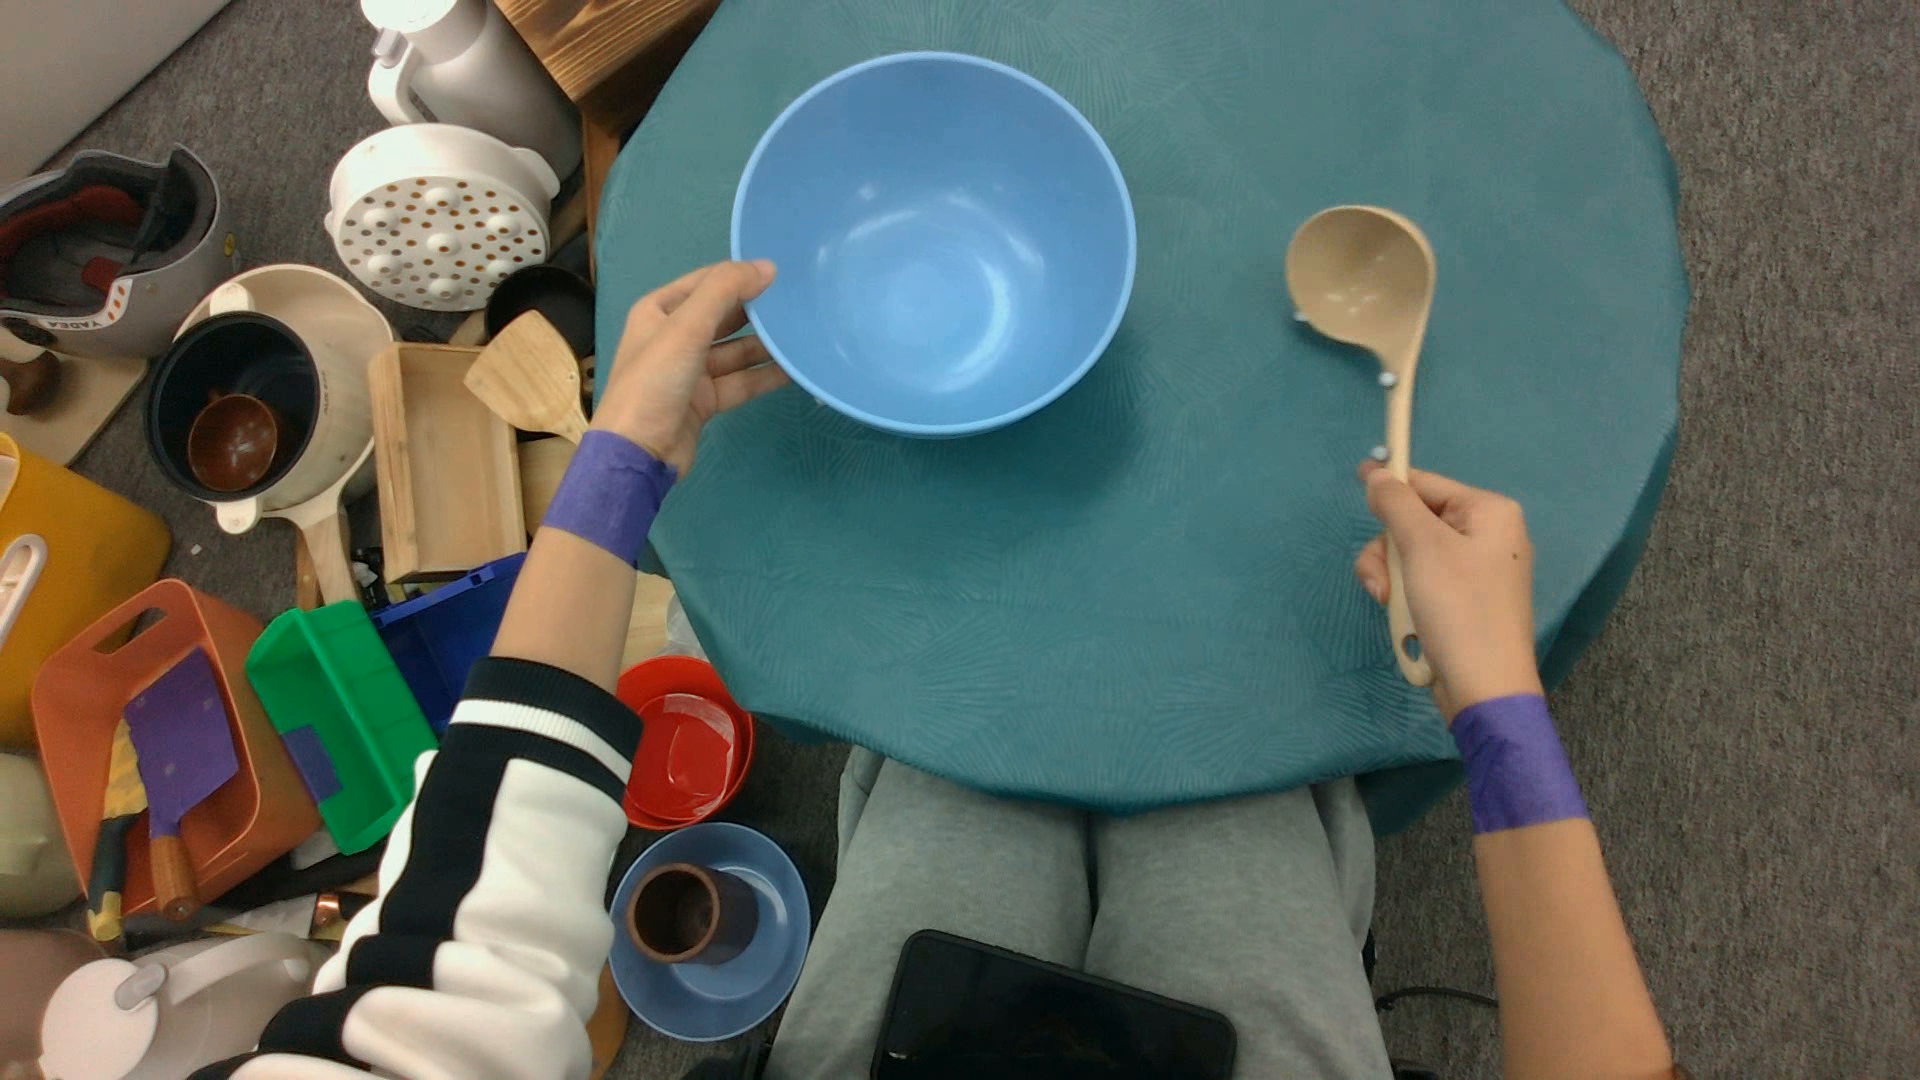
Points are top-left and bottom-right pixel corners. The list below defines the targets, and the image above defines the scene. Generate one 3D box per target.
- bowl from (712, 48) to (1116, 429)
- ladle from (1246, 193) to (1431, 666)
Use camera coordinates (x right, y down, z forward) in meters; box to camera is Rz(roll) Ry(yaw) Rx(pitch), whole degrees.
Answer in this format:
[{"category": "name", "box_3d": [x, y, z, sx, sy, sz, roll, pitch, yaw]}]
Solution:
[{"category": "bowl", "box_3d": [-0.025, -0.141, 0.711, 0.196, 0.095, 0.197, 1, 78, -5]}, {"category": "ladle", "box_3d": [0.176, -0.063, 0.640, 0.072, 0.073, 0.255, -28, 40, 33]}]
